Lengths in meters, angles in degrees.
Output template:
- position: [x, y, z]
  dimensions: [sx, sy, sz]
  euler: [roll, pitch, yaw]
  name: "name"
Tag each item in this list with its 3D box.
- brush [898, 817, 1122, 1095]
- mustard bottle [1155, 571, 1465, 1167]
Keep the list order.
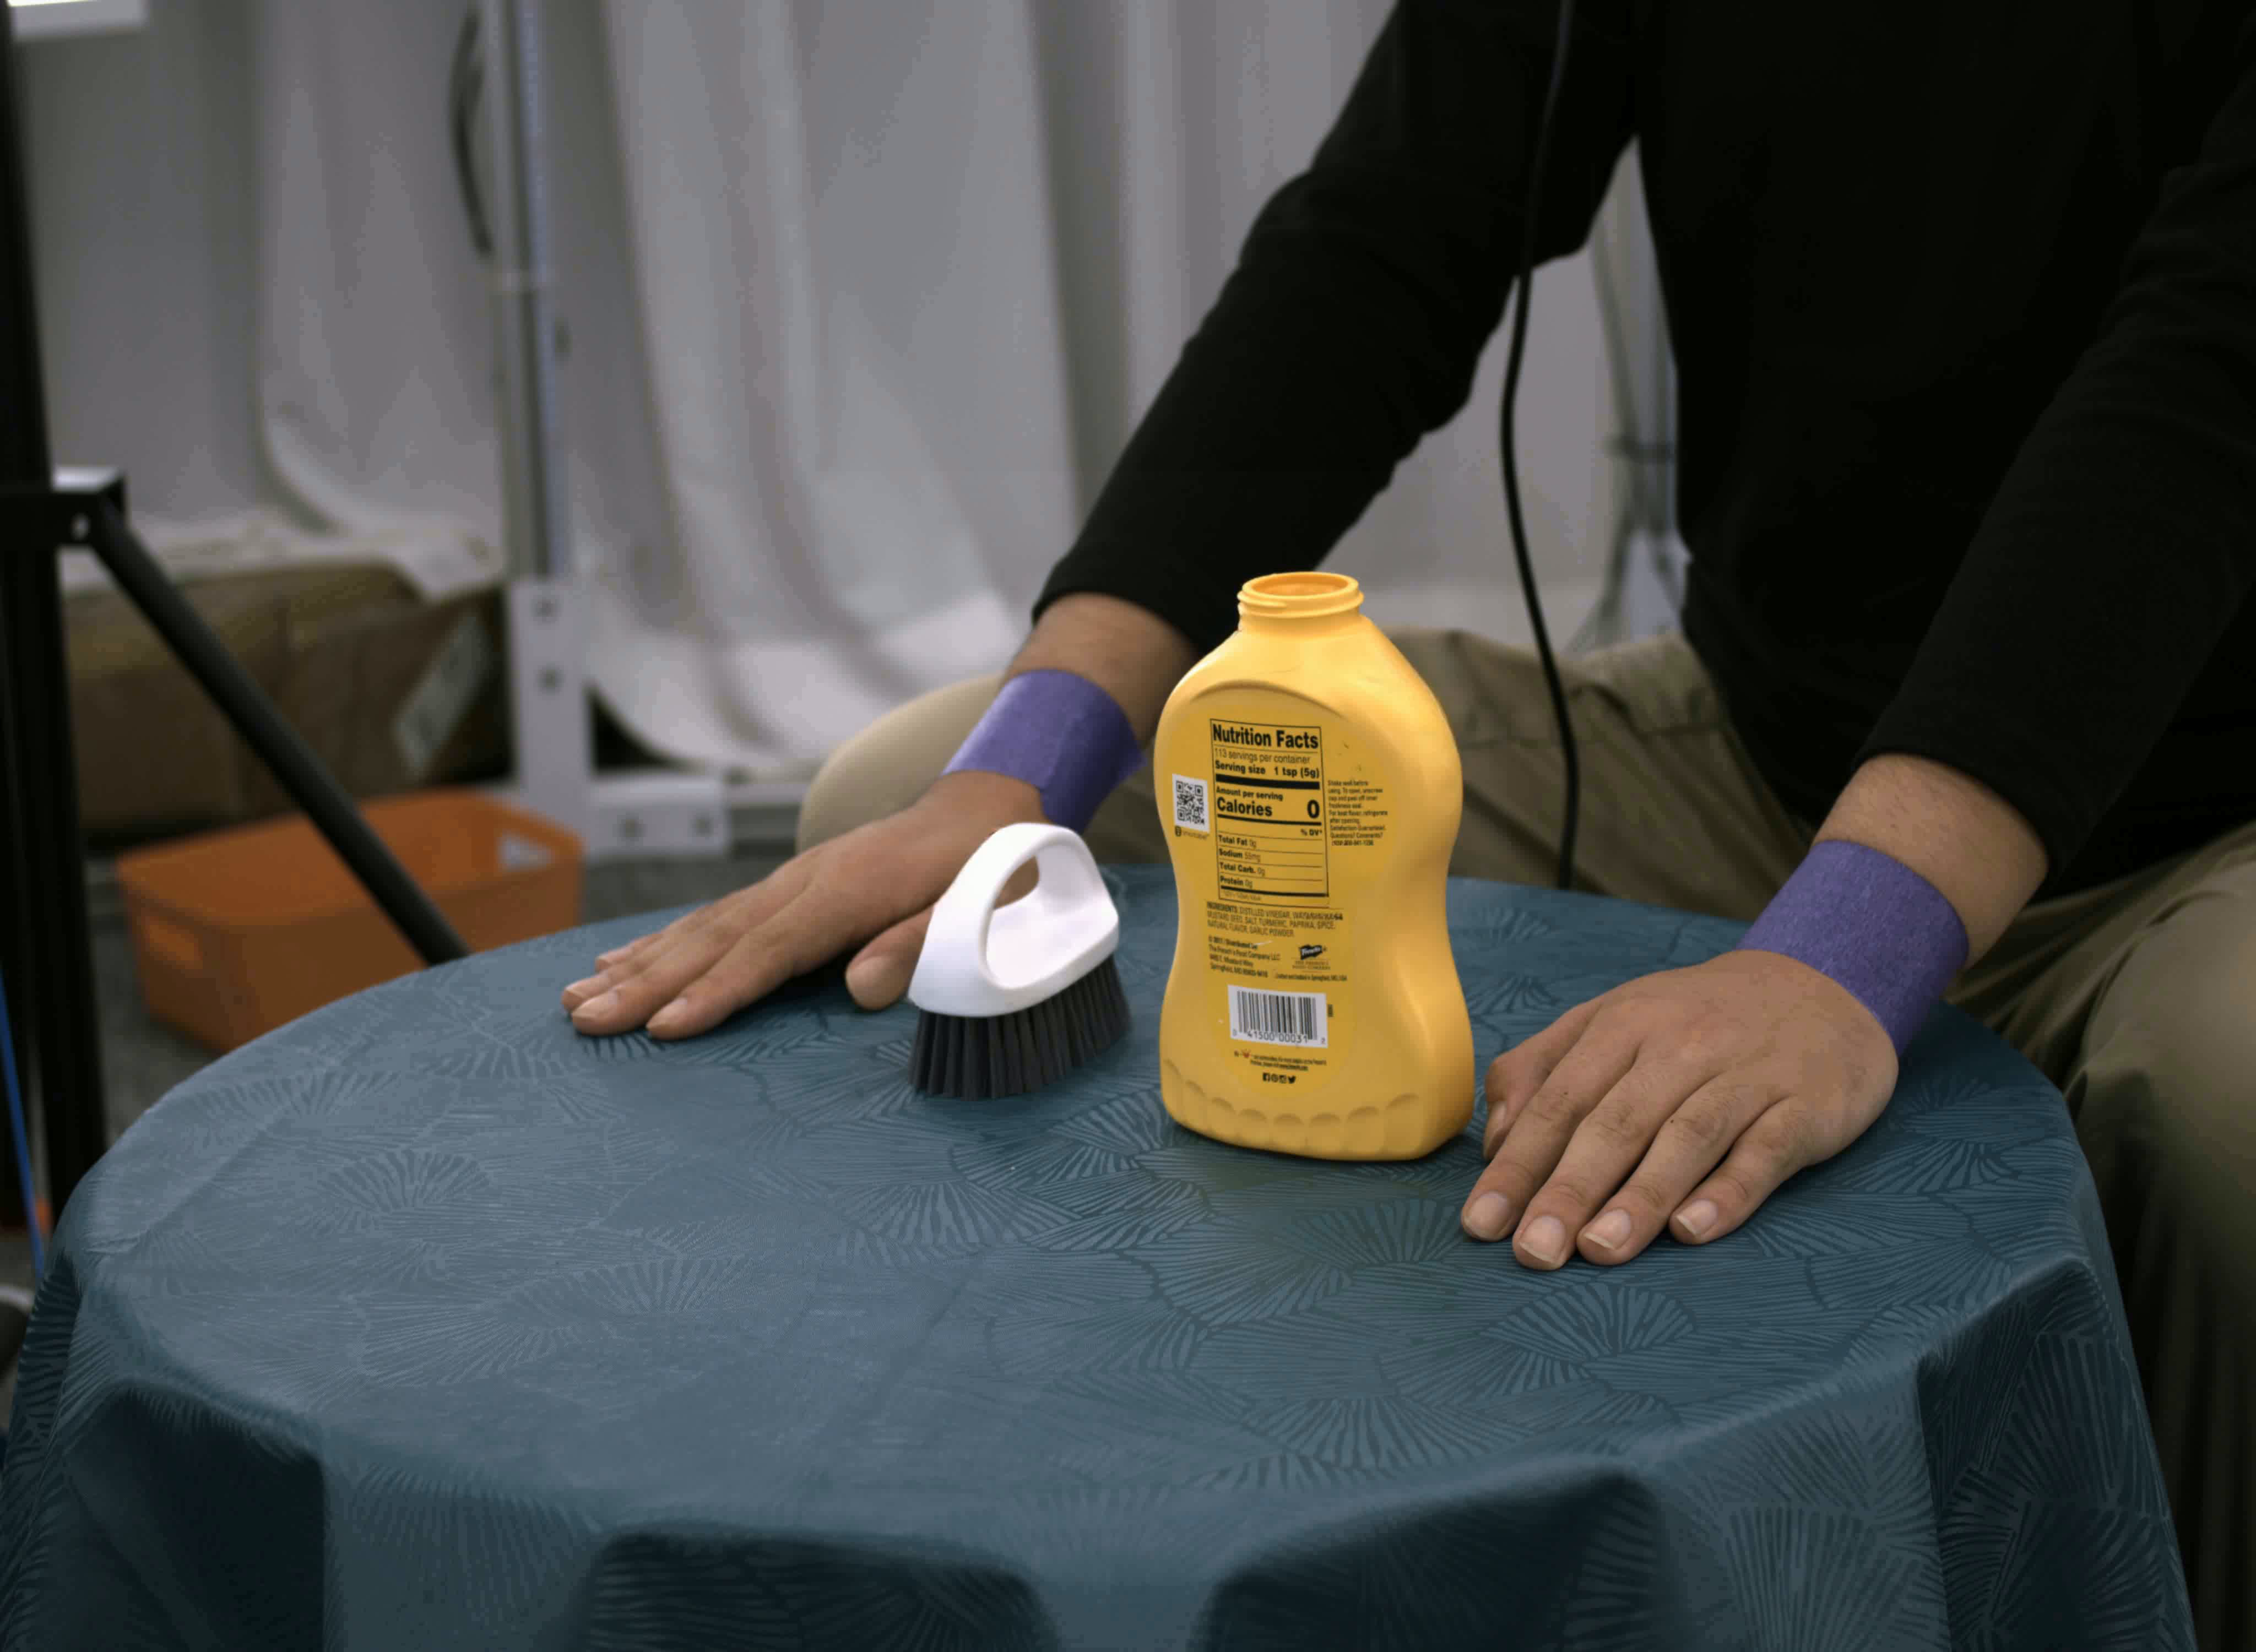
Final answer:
- position: [-0.037, 0.036, 1.684]
  dimensions: [0.051, 0.072, 0.097]
  euler: [7, 19, 26]
  name: "brush"
- position: [0.053, 0.011, 1.583]
  dimensions: [0.100, 0.172, 0.058]
  euler: [5, 14, 30]
  name: "mustard bottle"
